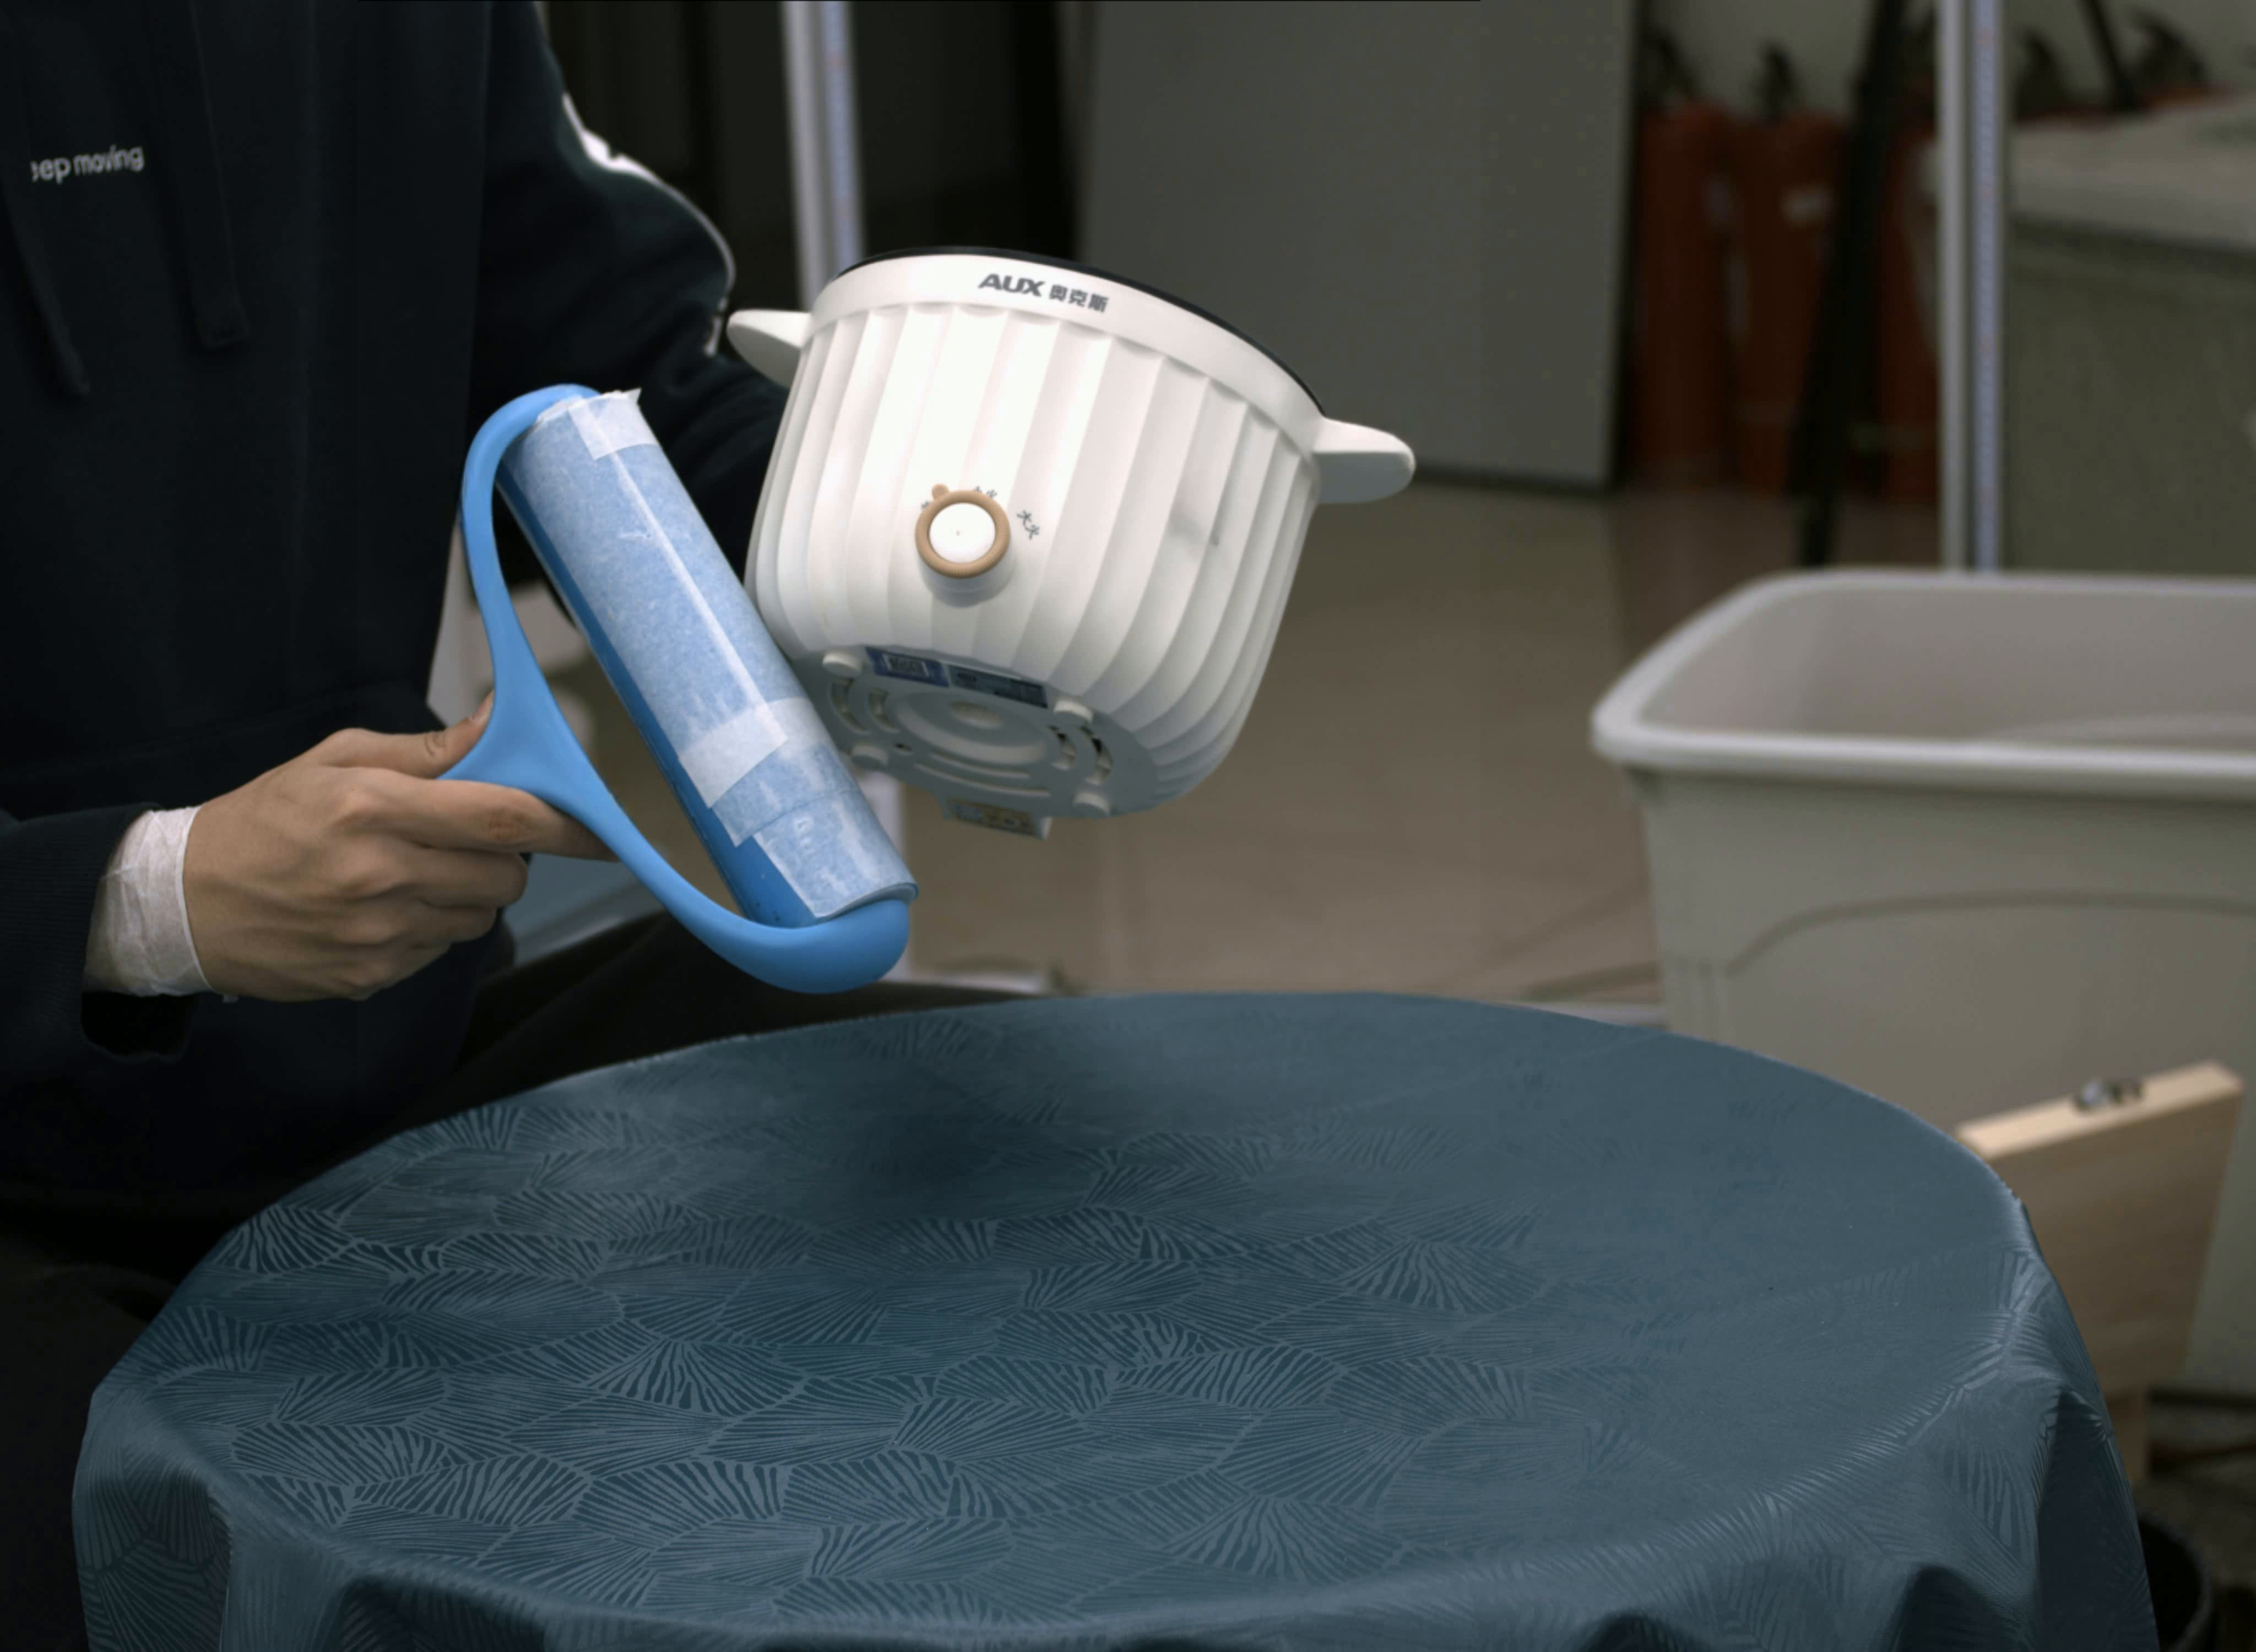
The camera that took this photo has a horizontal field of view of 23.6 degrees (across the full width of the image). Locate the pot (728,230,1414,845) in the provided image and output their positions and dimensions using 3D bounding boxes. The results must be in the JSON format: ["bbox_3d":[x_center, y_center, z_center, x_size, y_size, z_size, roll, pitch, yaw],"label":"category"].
[{"bbox_3d":[-0.034,-0.092,1.782,0.239,0.143,0.190,11,-25,9],"label":"pot"}]

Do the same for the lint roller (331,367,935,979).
[{"bbox_3d":[-0.182,-0.017,1.737,0.179,0.231,0.067,-34,-14,-2],"label":"lint roller"}]
